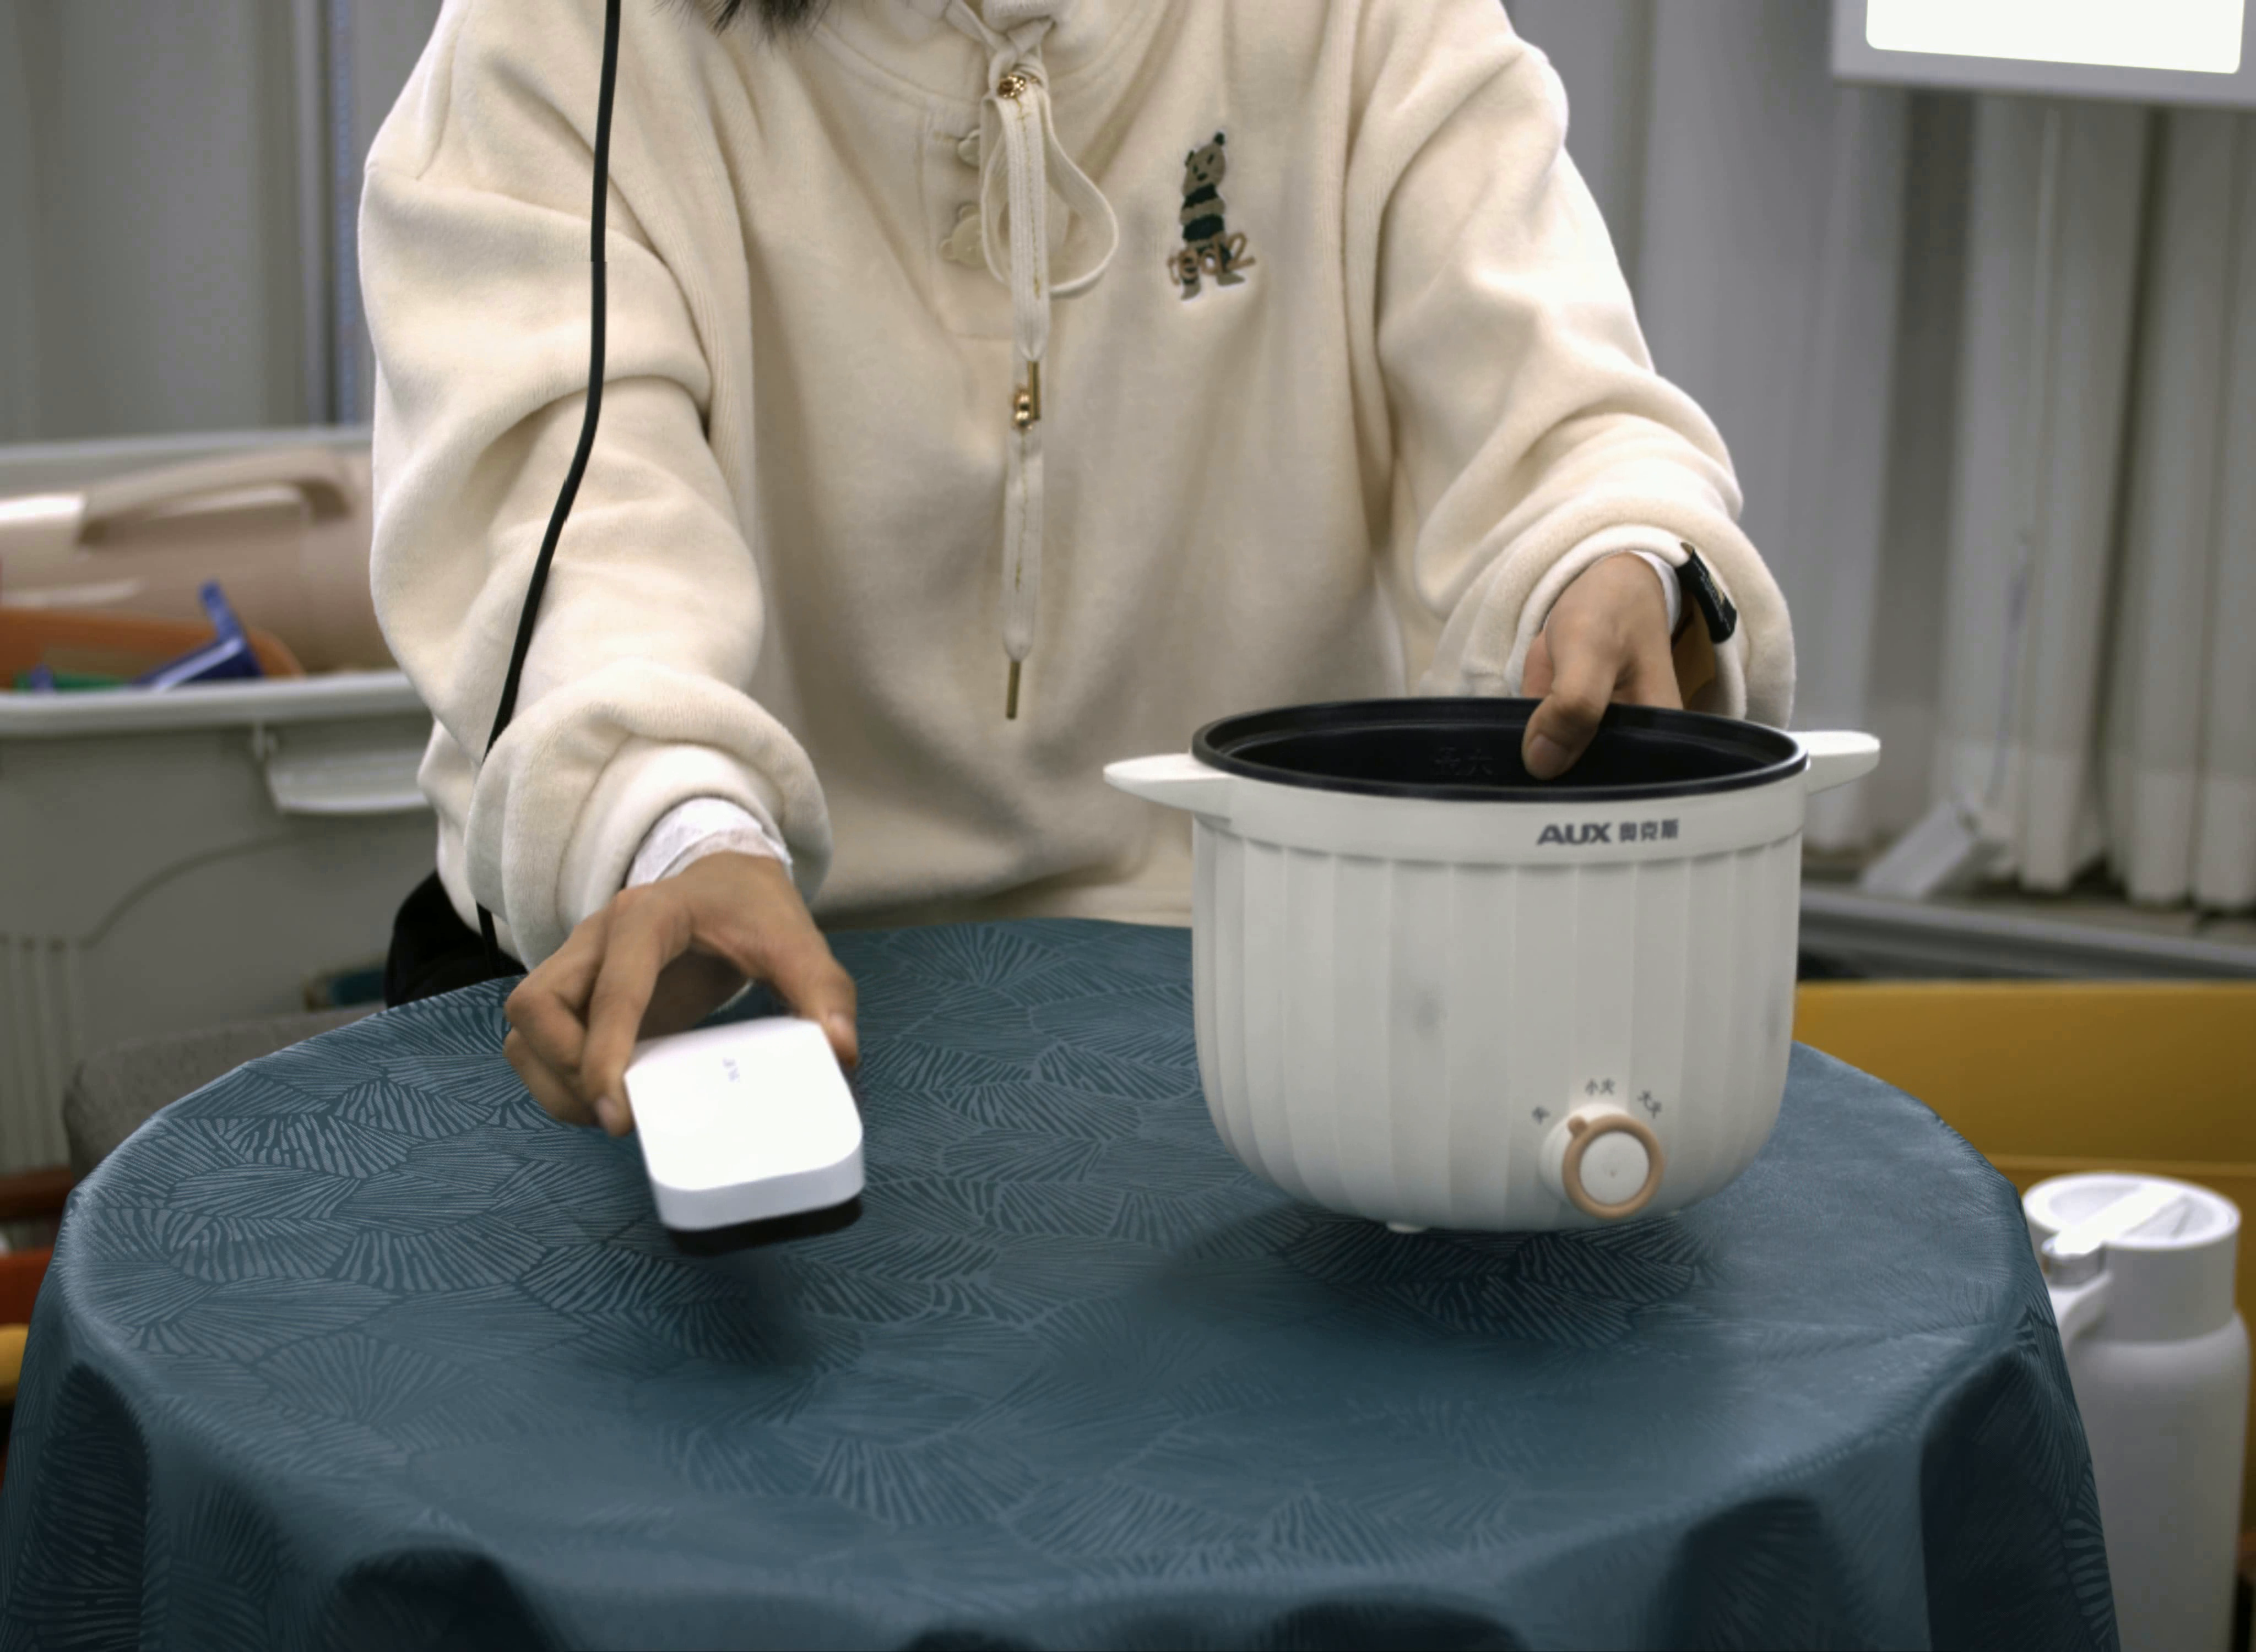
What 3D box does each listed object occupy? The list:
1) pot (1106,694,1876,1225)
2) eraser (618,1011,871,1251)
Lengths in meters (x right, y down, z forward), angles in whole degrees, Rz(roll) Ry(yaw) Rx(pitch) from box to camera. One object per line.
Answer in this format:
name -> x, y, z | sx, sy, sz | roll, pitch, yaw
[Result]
pot -> 0.111, 0.039, 1.546 | 0.241, 0.143, 0.189 | -4, 7, -18
eraser -> -0.109, 0.083, 1.514 | 0.063, 0.035, 0.130 | -9, 18, -9
